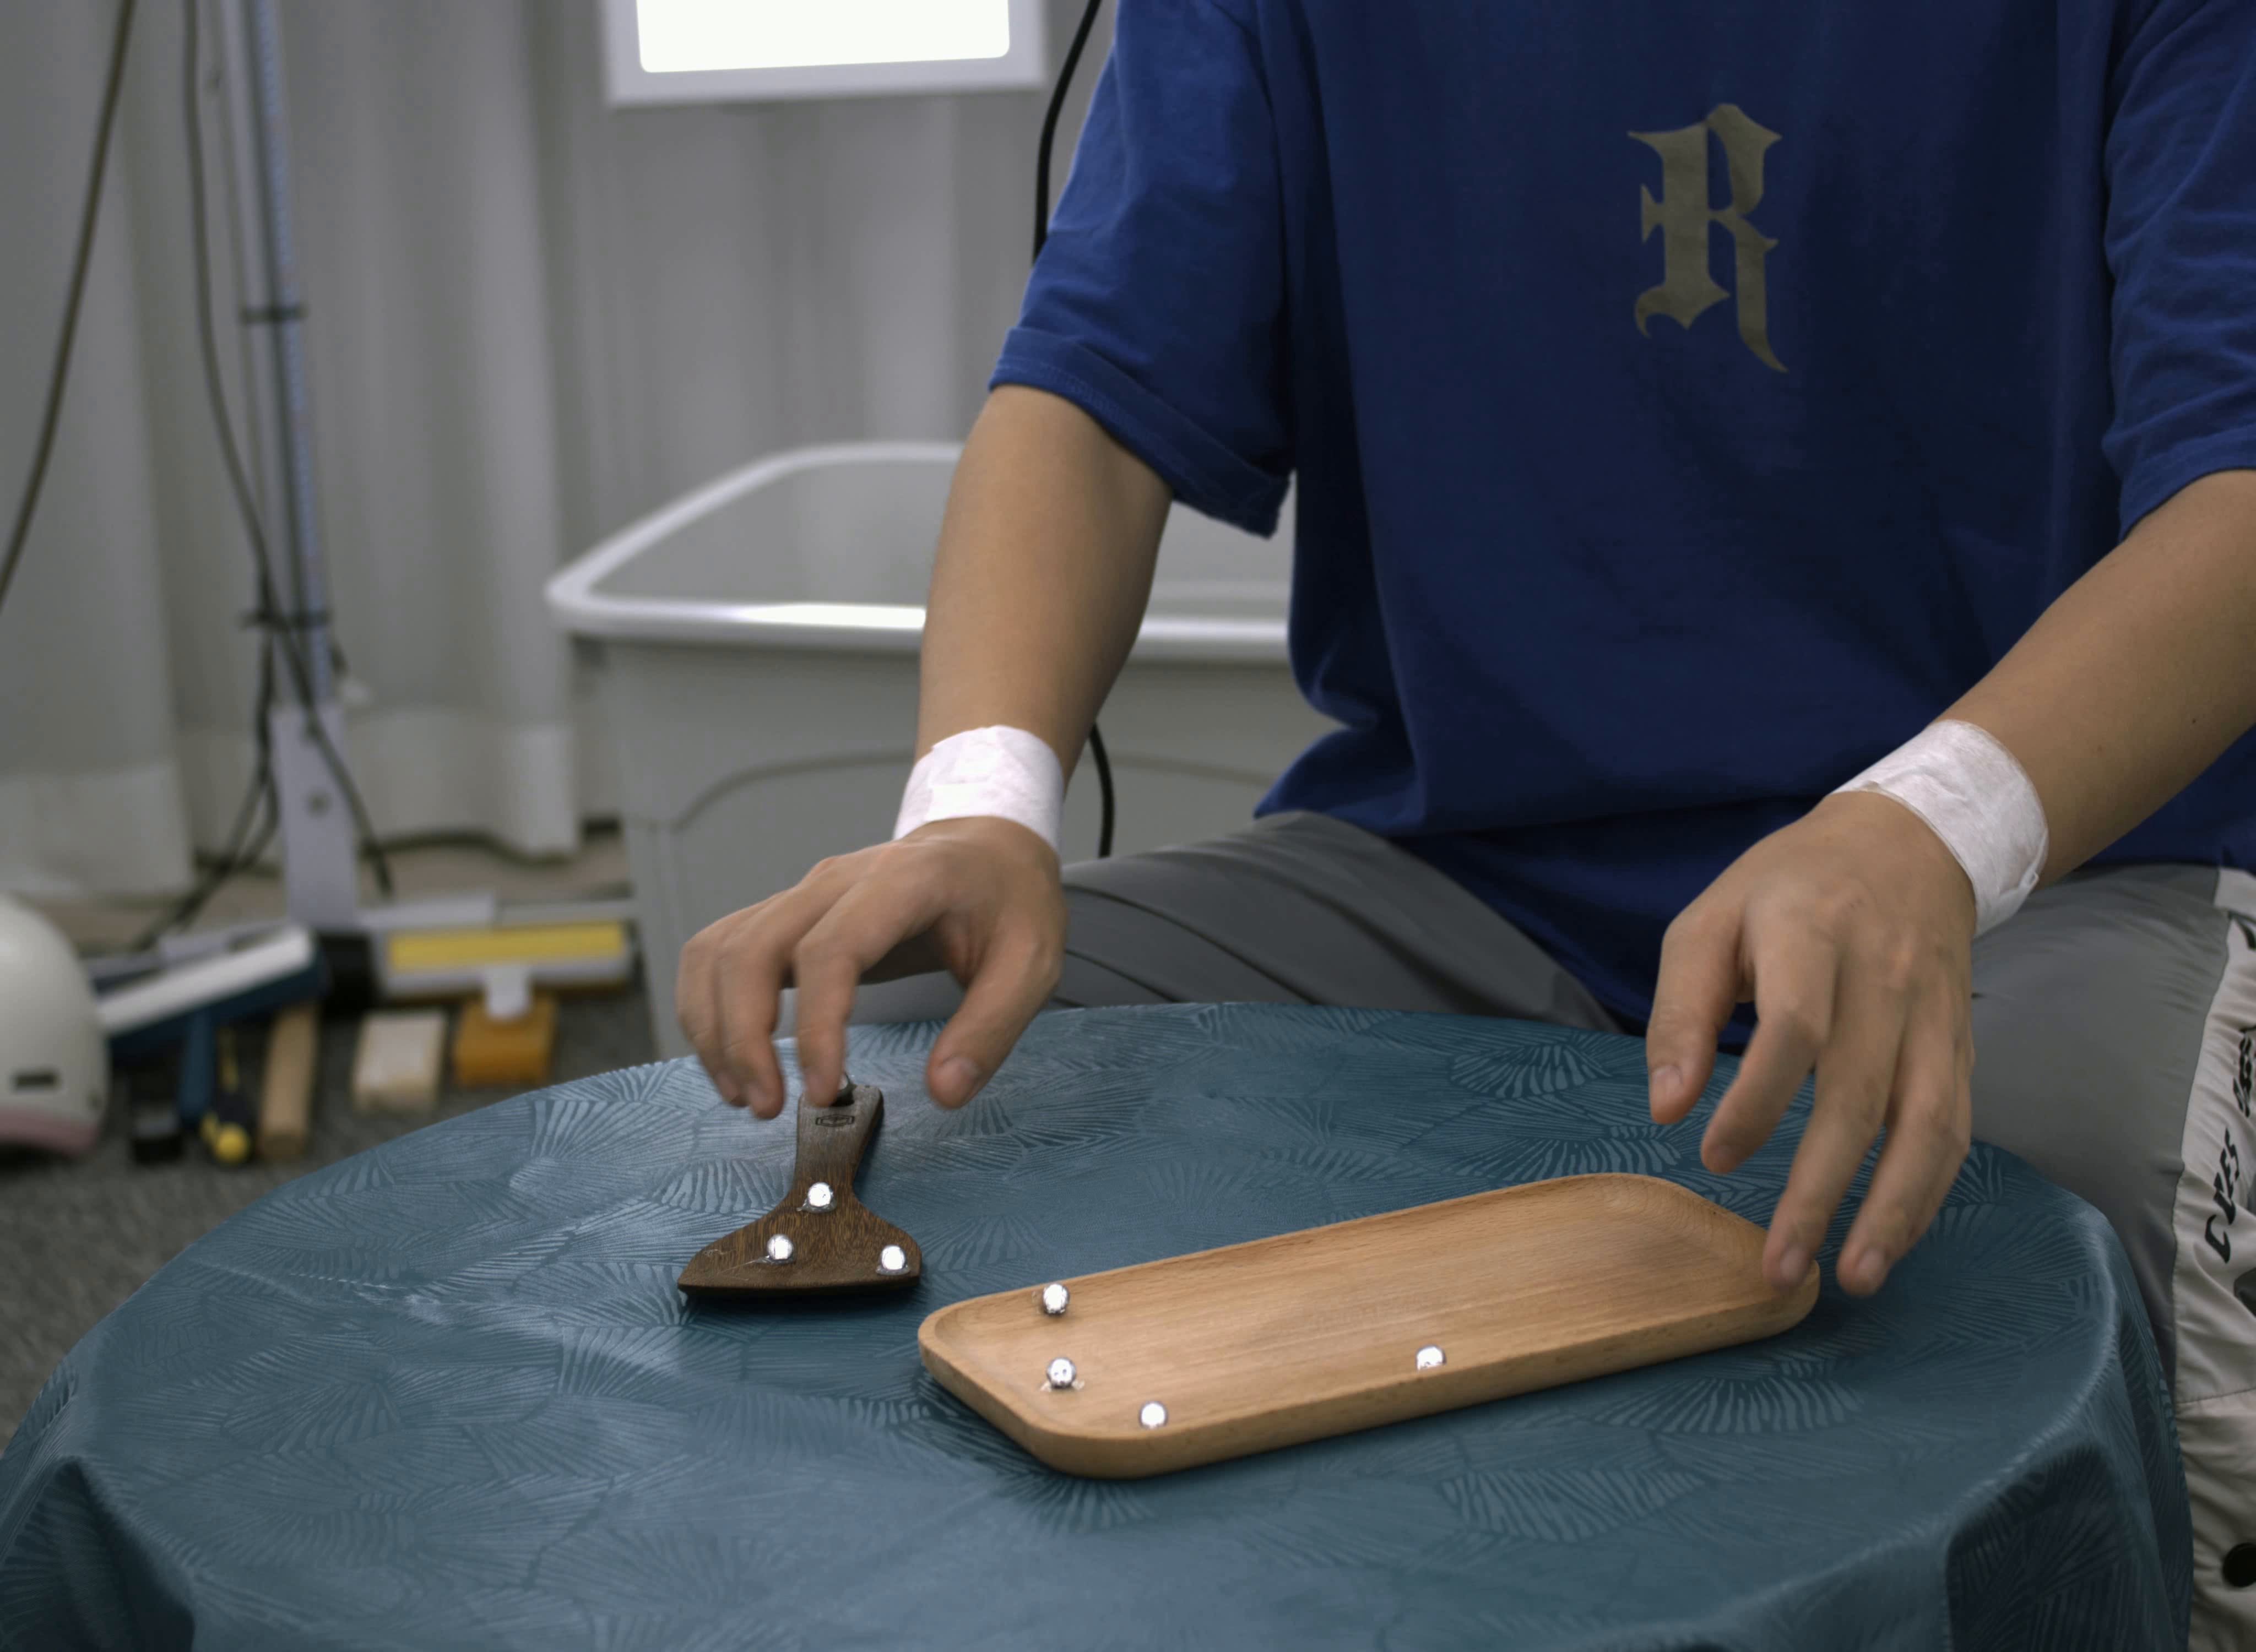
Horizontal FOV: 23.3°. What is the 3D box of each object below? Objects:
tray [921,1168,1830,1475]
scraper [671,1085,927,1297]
[{"bbox_3d":[0.071,0.140,1.565,0.249,0.023,0.132,-9,18,-23],"label":"tray"},{"bbox_3d":[-0.096,0.114,1.714,0.075,0.011,0.212,-2,14,2],"label":"scraper"}]
